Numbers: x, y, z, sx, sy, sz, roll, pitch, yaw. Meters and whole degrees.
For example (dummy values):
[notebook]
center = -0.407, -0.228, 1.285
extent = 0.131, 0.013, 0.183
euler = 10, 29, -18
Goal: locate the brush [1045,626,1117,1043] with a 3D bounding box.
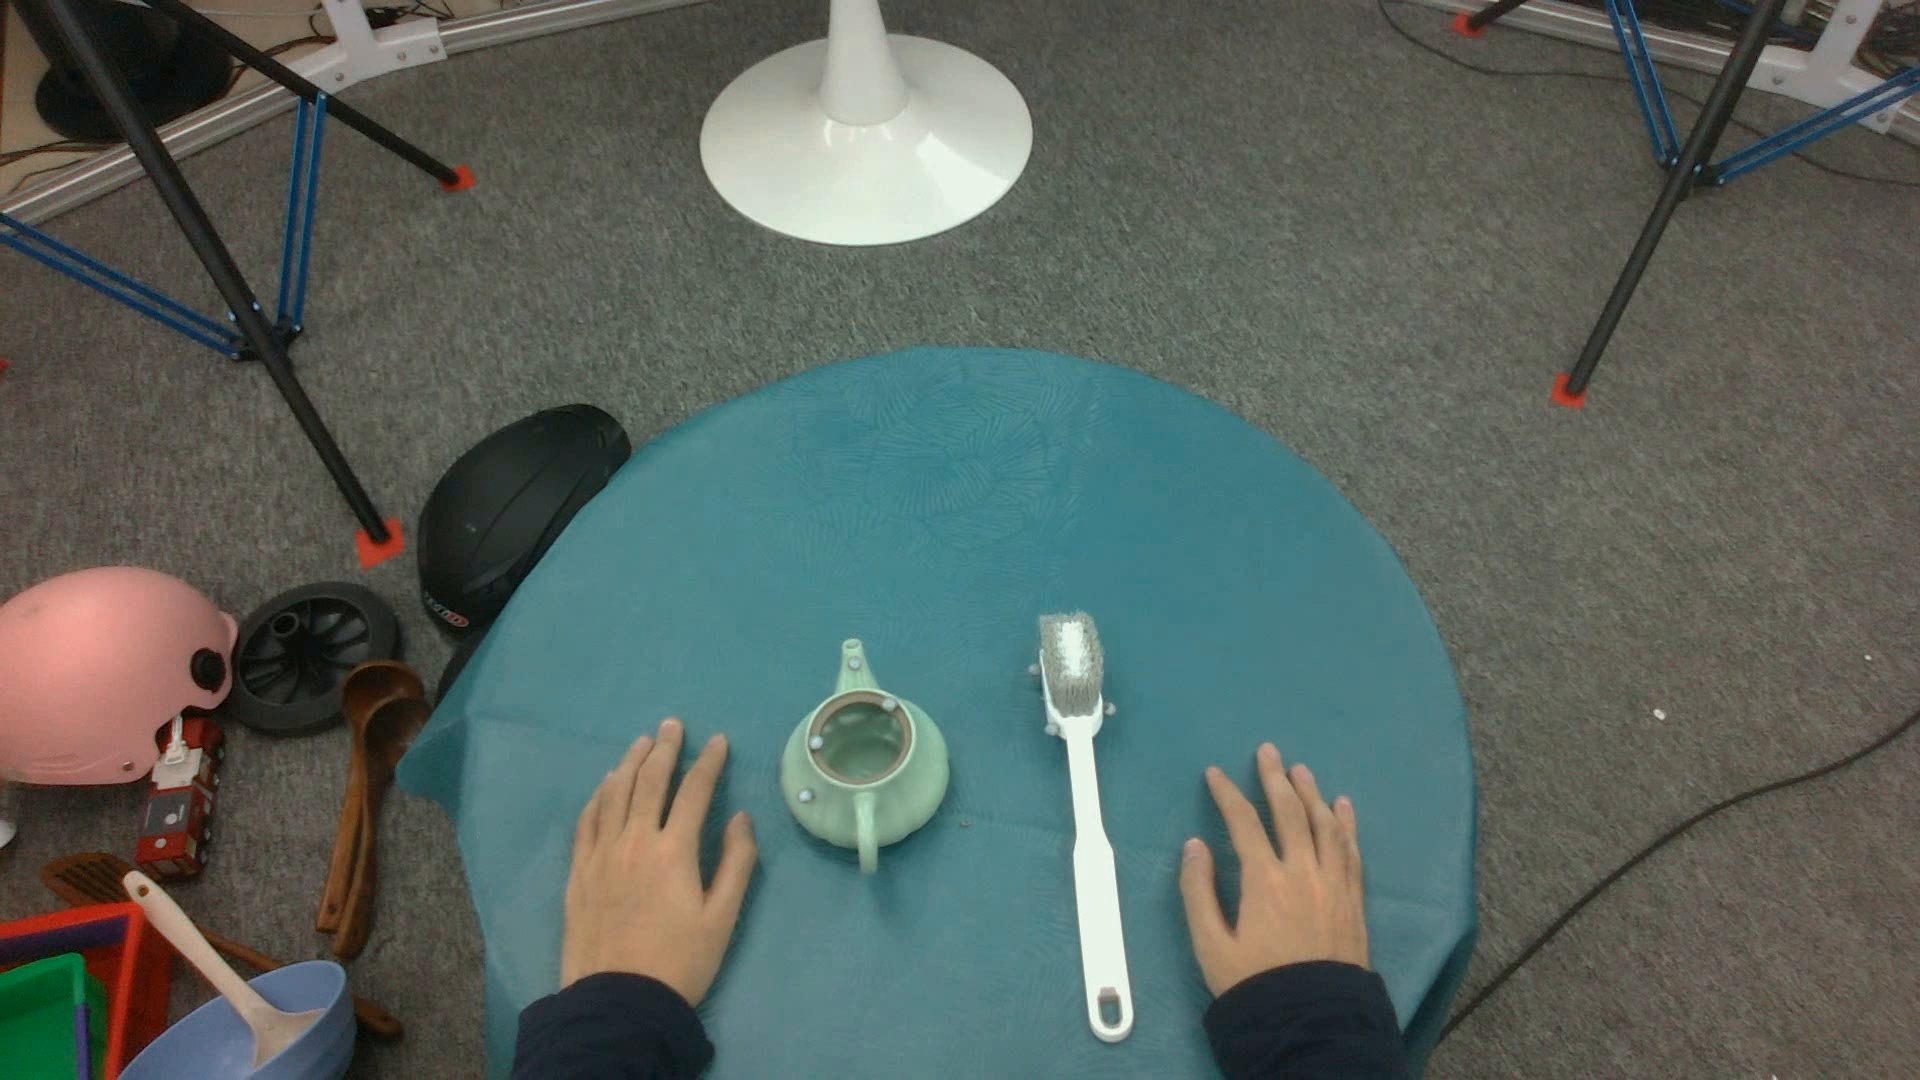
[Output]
[brush]
center = 0.071, 0.154, 0.777
extent = 0.034, 0.050, 0.245
euler = 1, 53, -2

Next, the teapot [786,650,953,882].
[teapot]
center = -0.052, 0.134, 0.787
extent = 0.096, 0.061, 0.137
euler = -6, 52, -7
